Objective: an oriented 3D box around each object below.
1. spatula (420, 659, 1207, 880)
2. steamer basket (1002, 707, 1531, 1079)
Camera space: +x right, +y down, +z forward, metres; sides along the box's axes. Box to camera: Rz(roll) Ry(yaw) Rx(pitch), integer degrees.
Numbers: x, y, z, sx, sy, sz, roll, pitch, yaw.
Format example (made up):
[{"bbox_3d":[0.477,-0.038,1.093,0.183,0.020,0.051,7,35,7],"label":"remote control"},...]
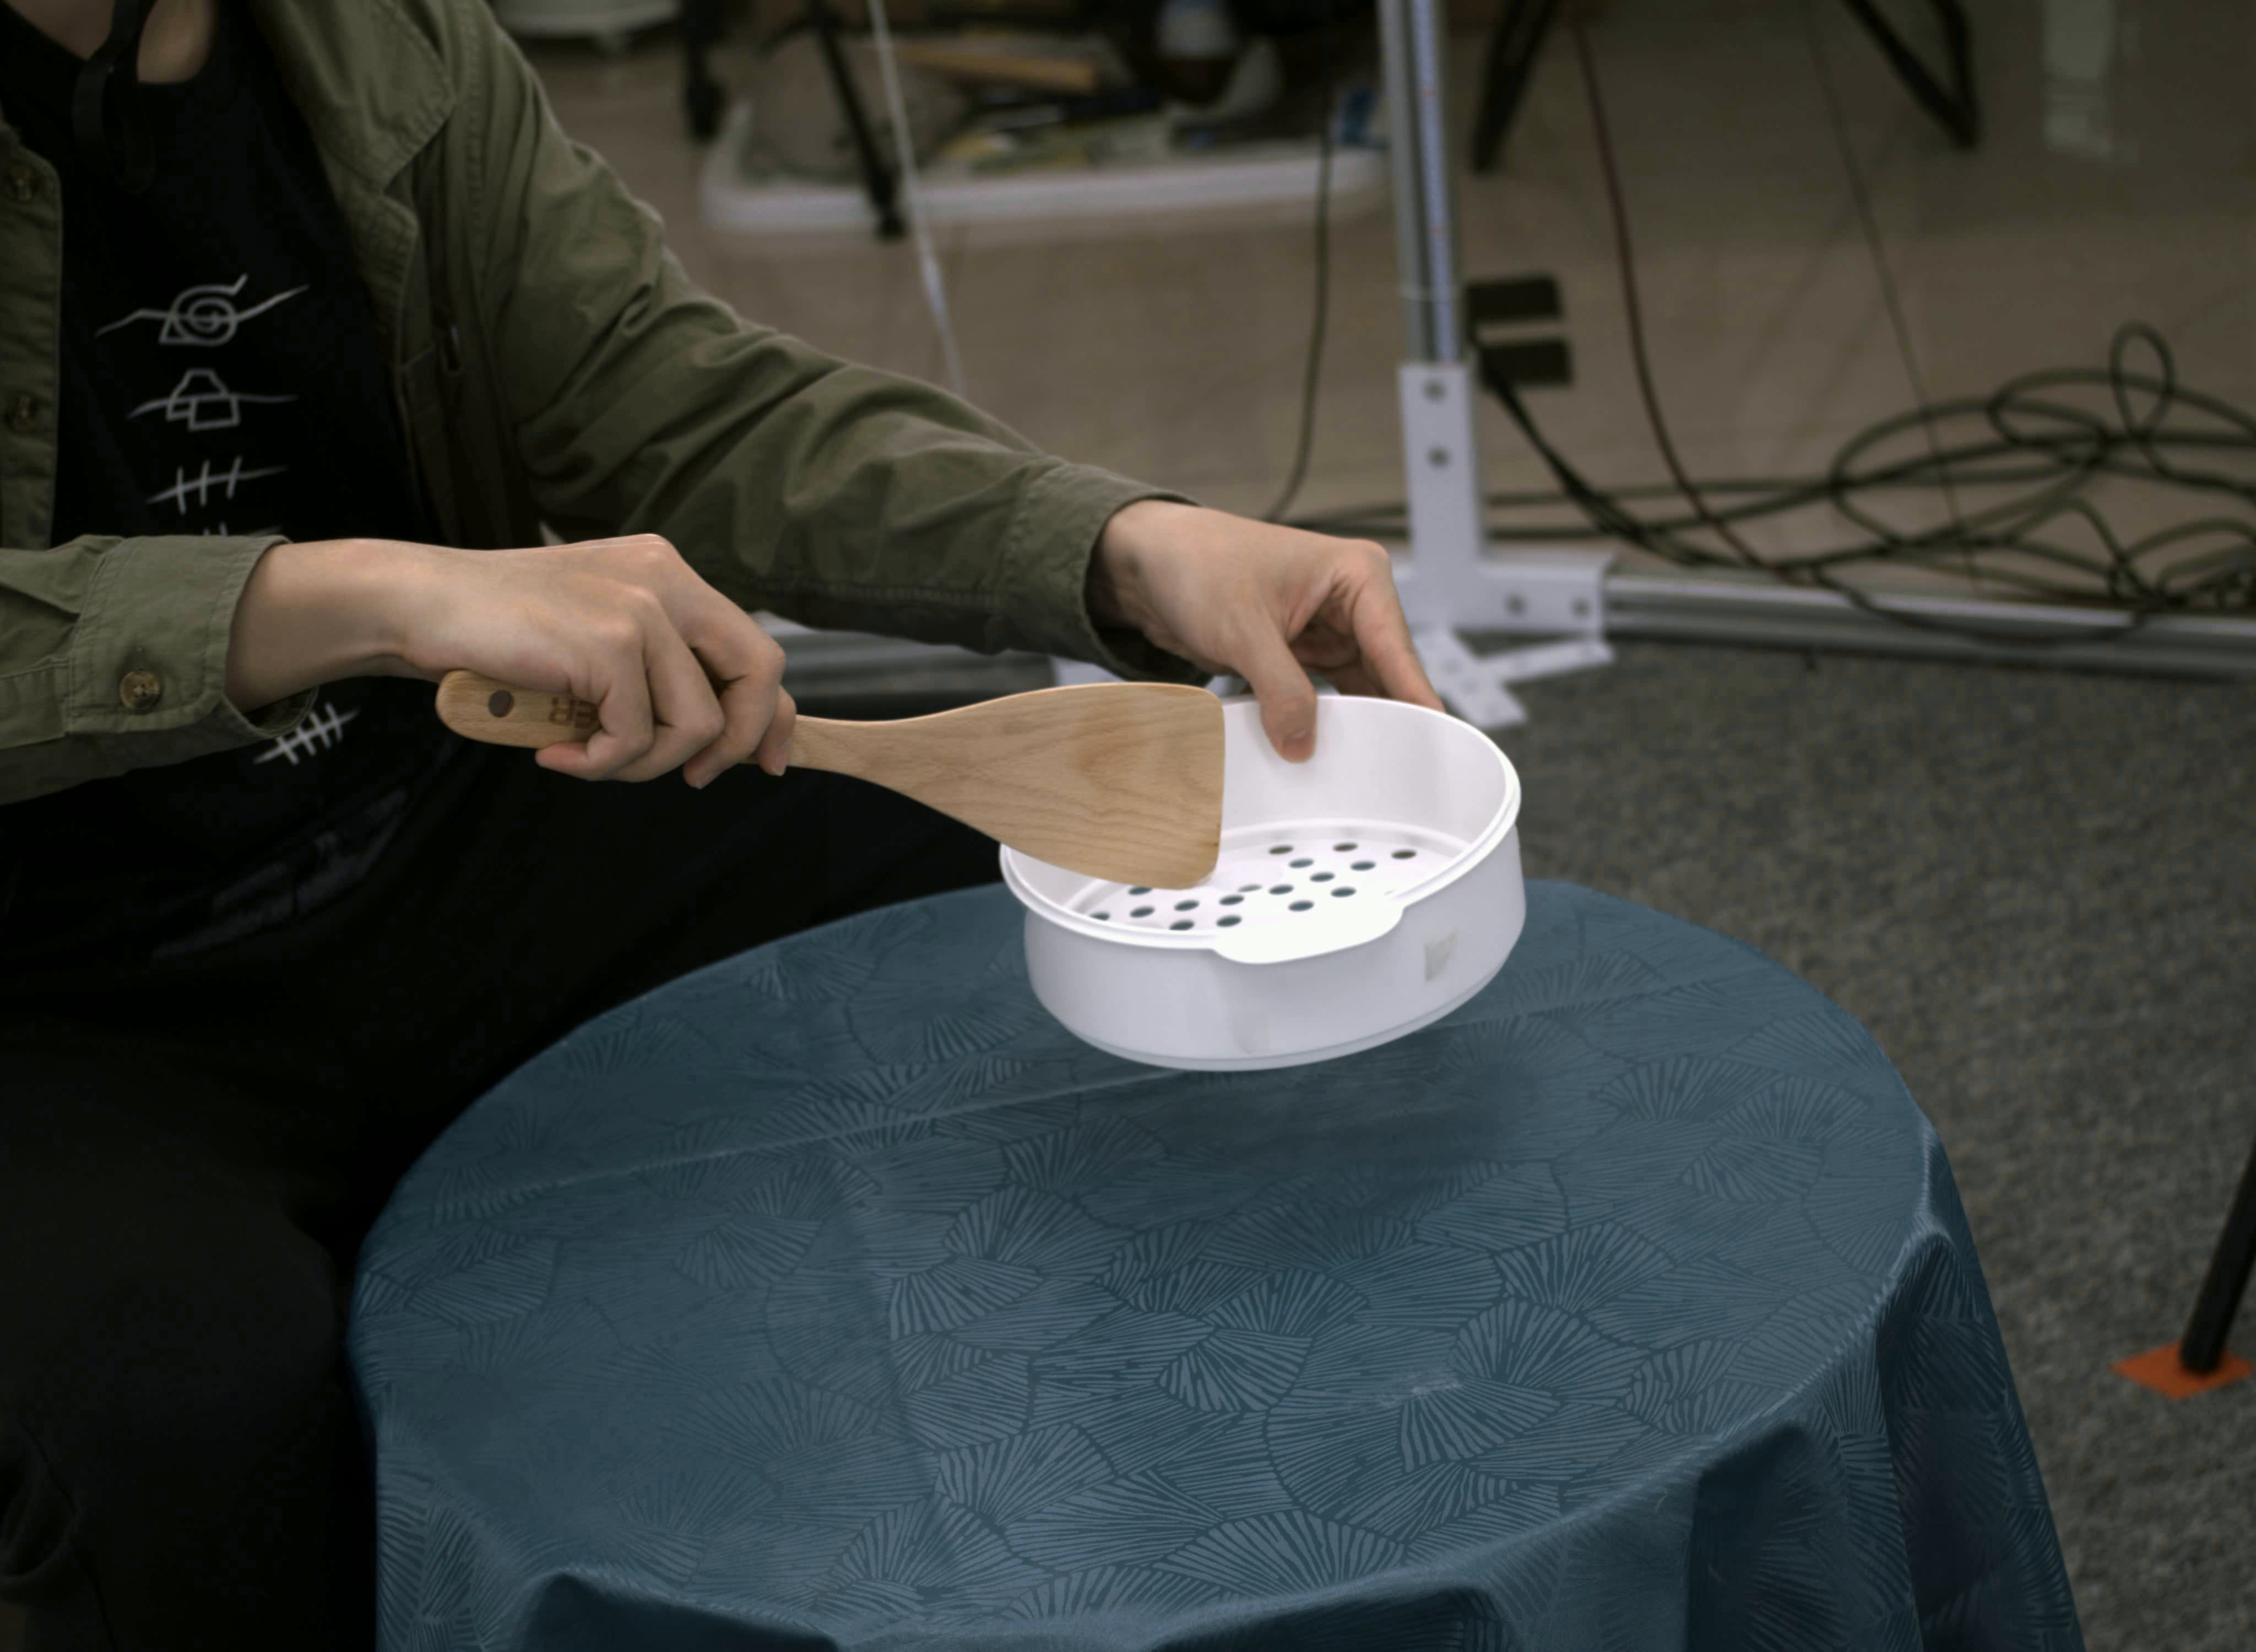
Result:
[{"bbox_3d":[-0.107,-0.032,2.057,0.328,0.080,0.016,6,13,-33],"label":"spatula"},{"bbox_3d":[0.055,0.026,2.168,0.201,0.070,0.227,-11,26,-5],"label":"steamer basket"}]
